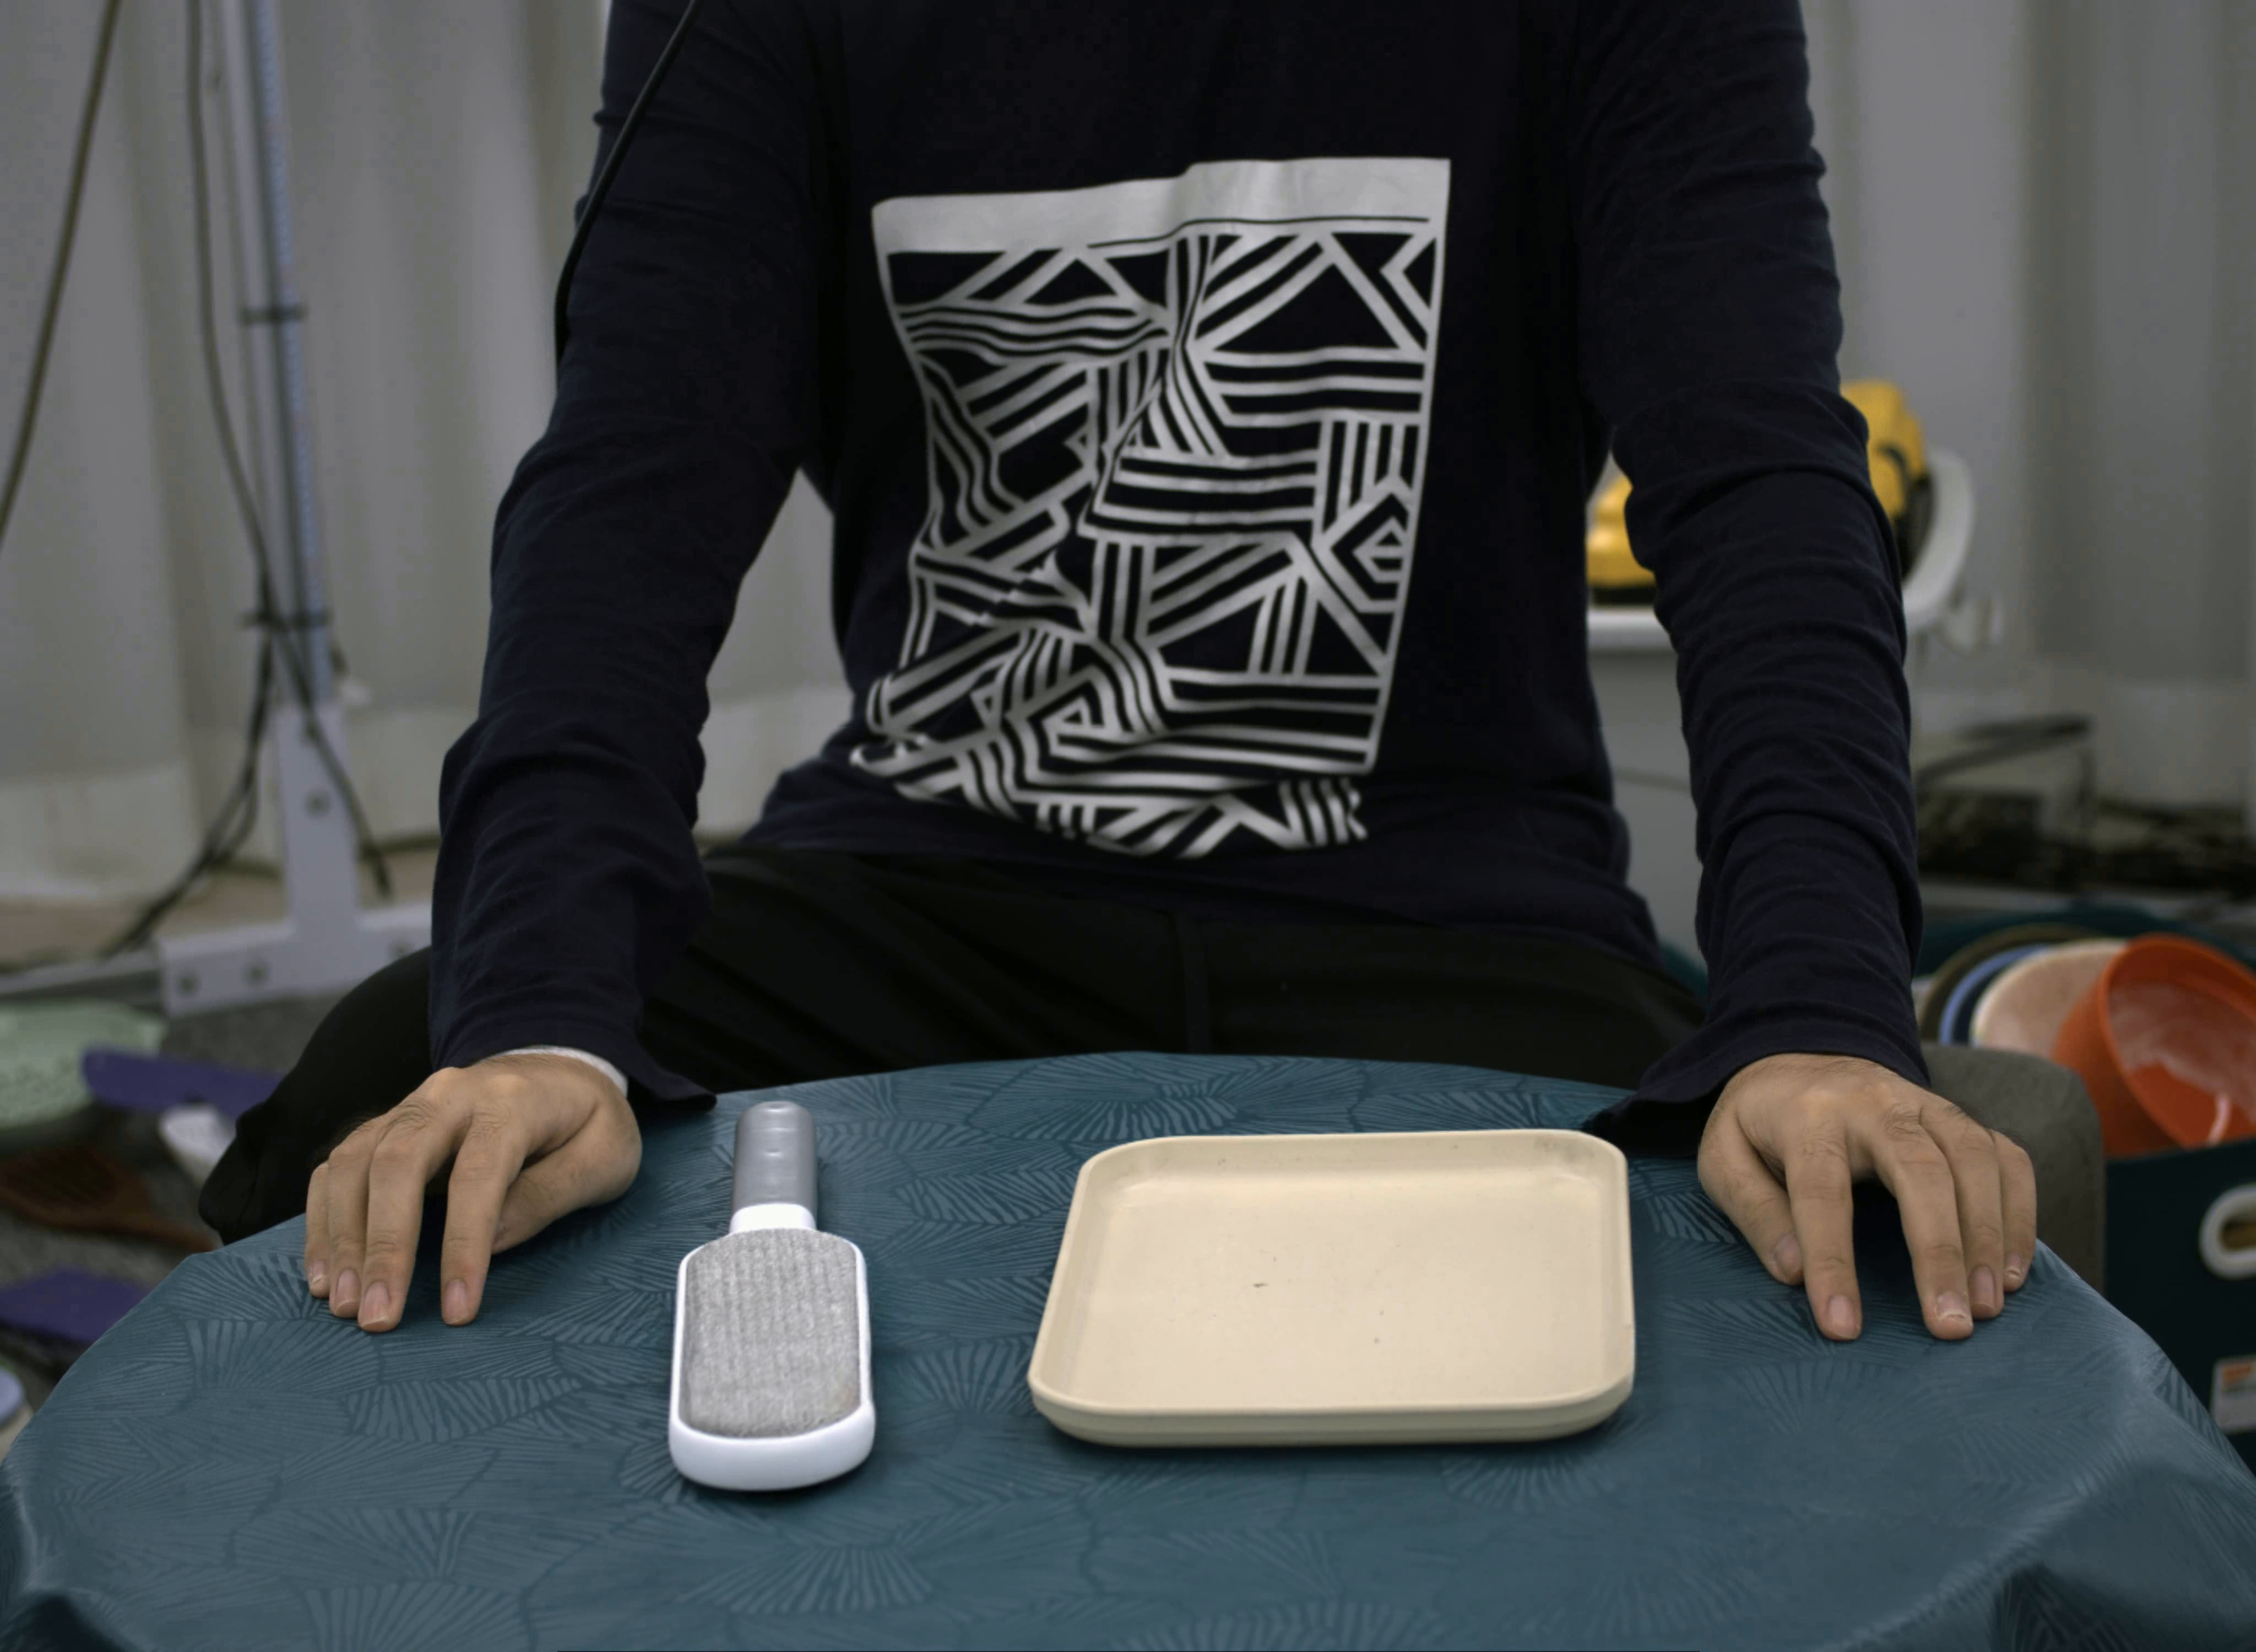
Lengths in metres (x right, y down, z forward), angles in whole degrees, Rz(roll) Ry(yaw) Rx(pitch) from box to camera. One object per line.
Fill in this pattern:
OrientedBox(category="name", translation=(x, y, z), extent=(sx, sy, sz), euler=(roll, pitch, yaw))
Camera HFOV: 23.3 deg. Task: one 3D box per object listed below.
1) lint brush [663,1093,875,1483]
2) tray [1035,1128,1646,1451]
OrientedBox(category="lint brush", translation=(-0.104, 0.132, 1.620), extent=(0.060, 0.021, 0.311), euler=(-8, 15, -1))
OrientedBox(category="tray", translation=(0.063, 0.134, 1.598), extent=(0.171, 0.017, 0.241), euler=(-2, 15, 4))
